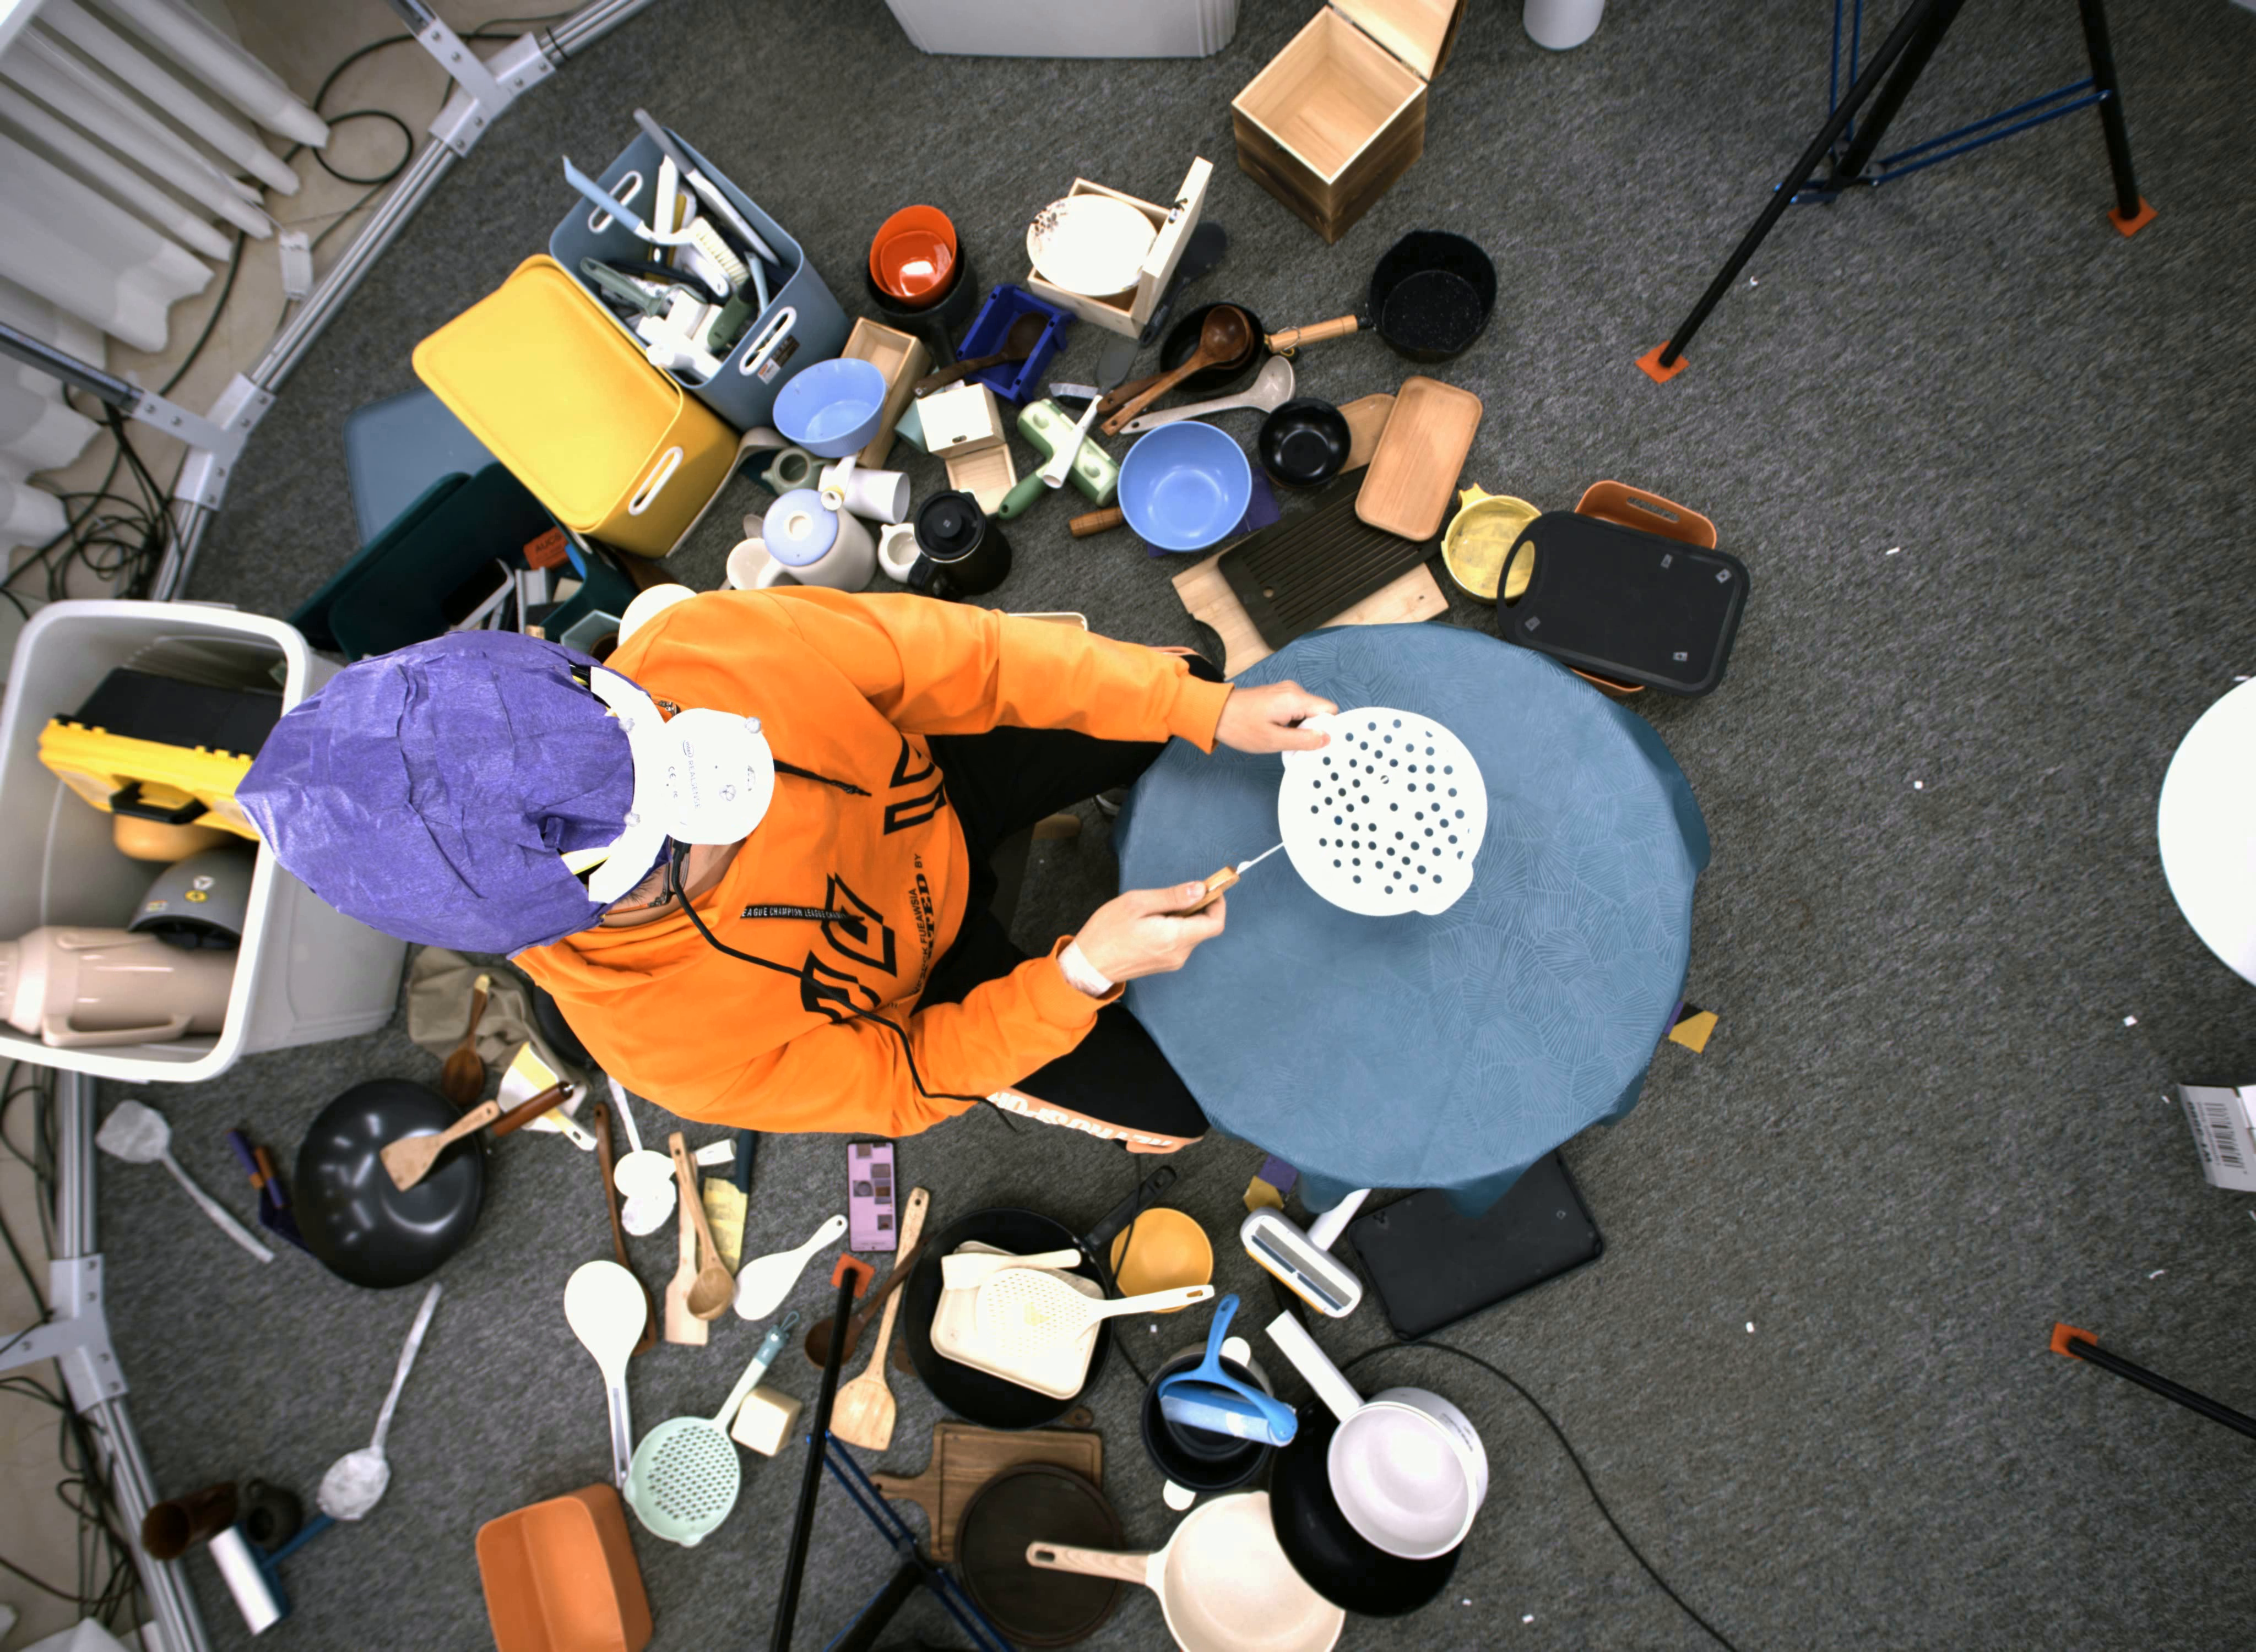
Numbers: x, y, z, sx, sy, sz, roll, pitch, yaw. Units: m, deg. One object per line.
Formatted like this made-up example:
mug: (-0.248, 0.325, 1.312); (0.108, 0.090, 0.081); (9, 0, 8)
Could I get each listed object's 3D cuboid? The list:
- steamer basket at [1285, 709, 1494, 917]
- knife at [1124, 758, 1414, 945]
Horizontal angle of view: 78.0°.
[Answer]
steamer basket: (0.259, -0.015, 1.354); (0.229, 0.068, 0.205); (46, 114, 13)
knife: (0.131, 0.021, 1.275); (0.309, 0.092, 0.021); (-33, 86, 18)
